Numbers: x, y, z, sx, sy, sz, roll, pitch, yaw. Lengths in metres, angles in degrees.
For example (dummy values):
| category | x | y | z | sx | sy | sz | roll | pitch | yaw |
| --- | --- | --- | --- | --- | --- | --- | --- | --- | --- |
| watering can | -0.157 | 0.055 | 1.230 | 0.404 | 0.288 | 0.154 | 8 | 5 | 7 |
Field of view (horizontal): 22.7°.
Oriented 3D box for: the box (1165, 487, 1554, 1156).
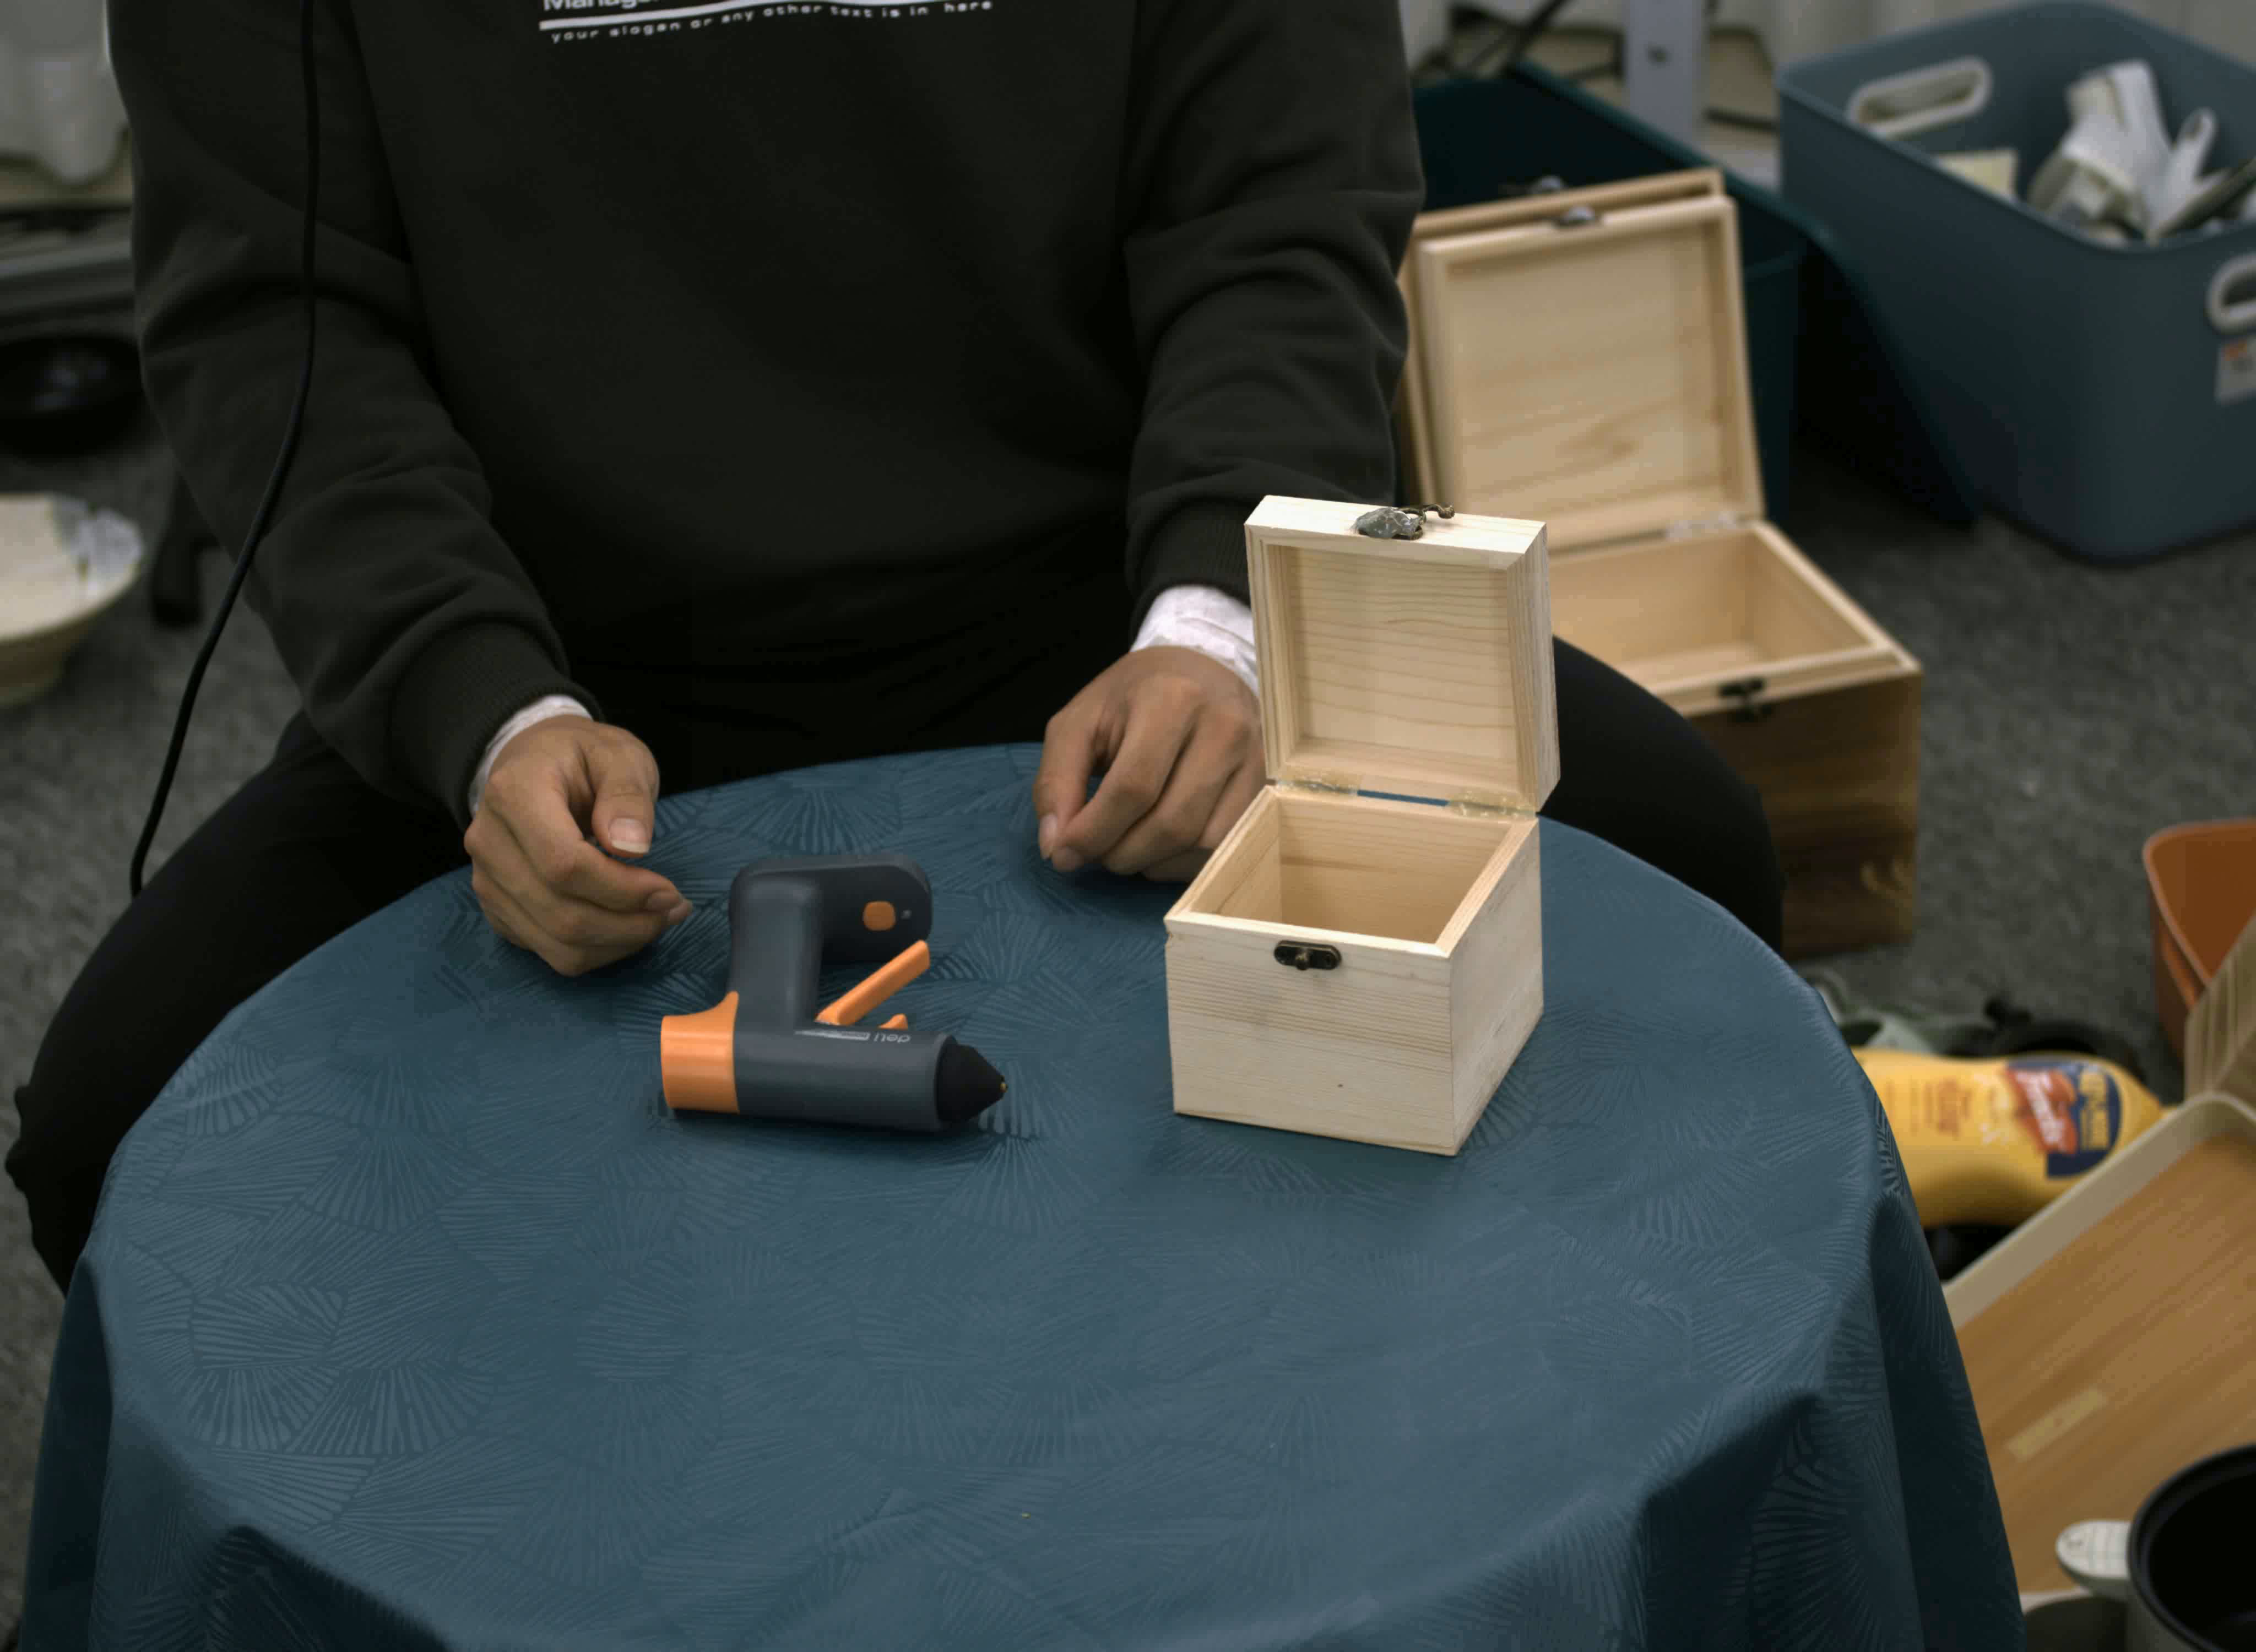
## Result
| category | x | y | z | sx | sy | sz | roll | pitch | yaw |
| --- | --- | --- | --- | --- | --- | --- | --- | --- | --- |
| box | 0.078 | -0.004 | 1.900 | 0.102 | 0.182 | 0.136 | 7 | 29 | 18 |

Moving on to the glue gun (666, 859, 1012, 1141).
| category | x | y | z | sx | sy | sz | roll | pitch | yaw |
| --- | --- | --- | --- | --- | --- | --- | --- | --- | --- |
| glue gun | -0.100 | 0.064 | 1.951 | 0.117 | 0.040 | 0.142 | -1 | 29 | -1 |
